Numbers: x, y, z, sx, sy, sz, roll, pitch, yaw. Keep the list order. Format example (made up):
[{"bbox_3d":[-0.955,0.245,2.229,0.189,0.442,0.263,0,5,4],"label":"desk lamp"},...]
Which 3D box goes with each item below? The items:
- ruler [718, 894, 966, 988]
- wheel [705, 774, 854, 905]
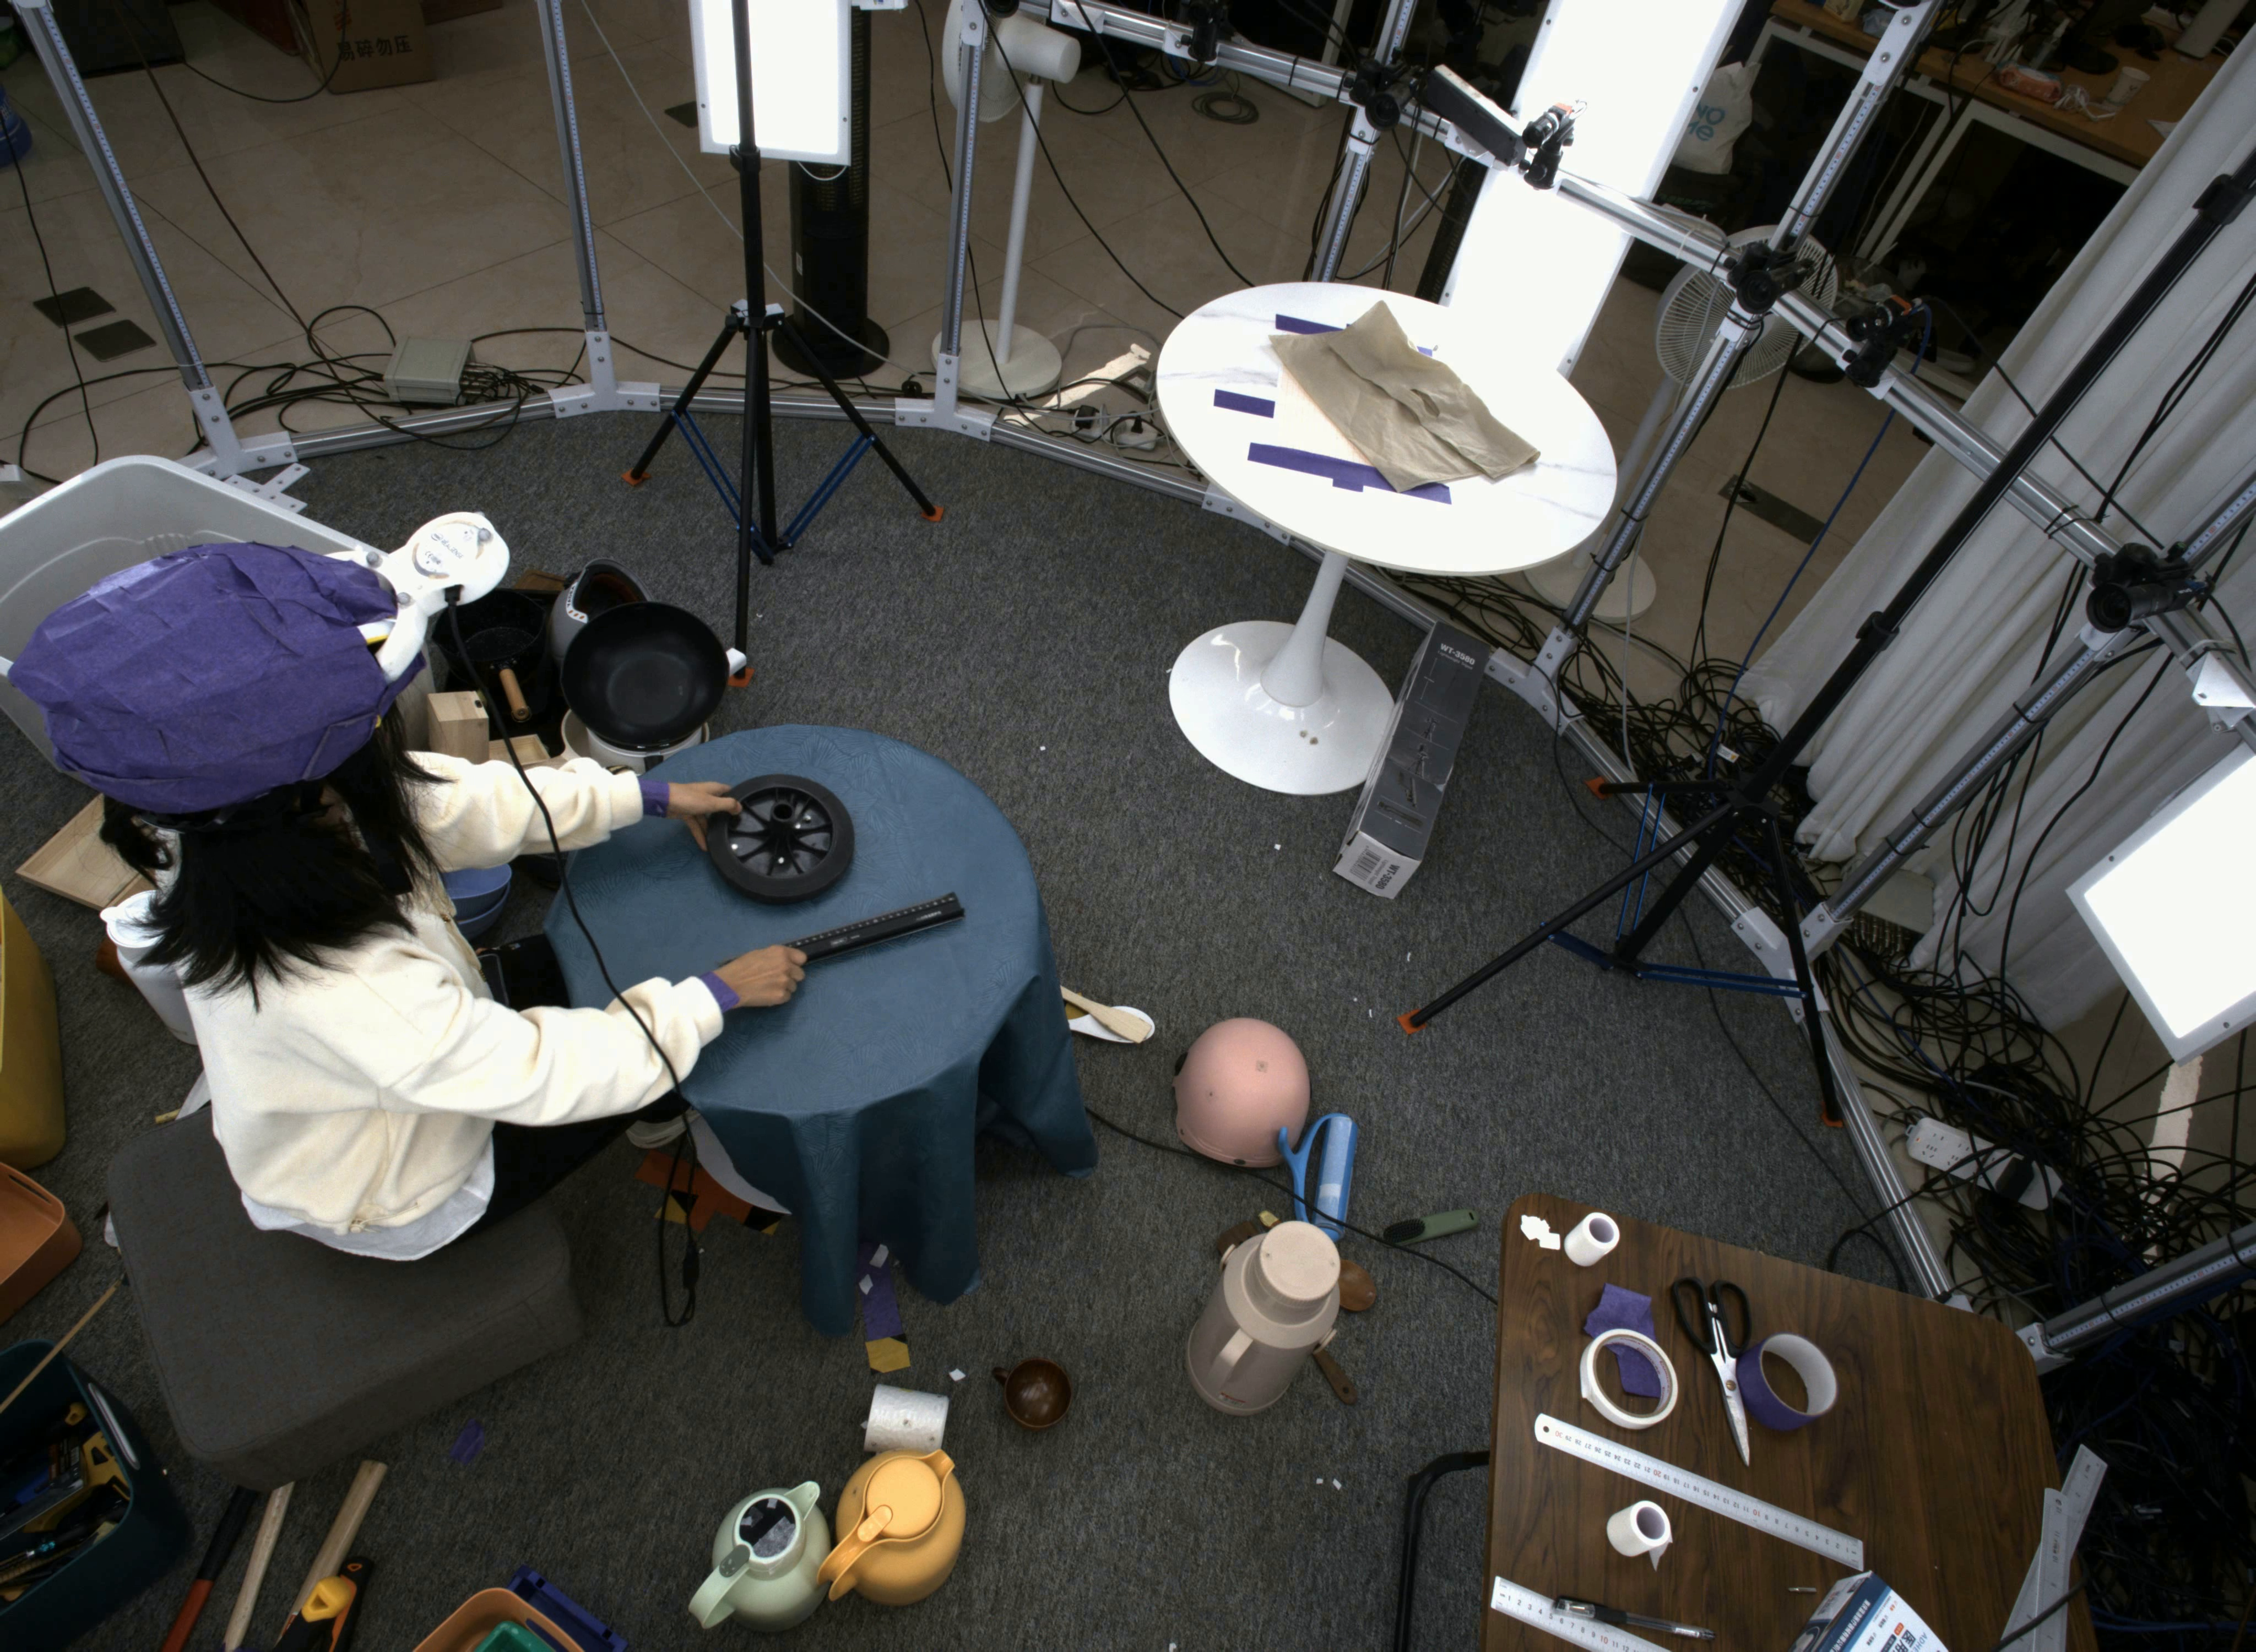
[{"bbox_3d":[-0.351,0.135,1.615,0.314,0.017,0.038,-15,65,-25],"label":"ruler"},{"bbox_3d":[-0.445,0.003,1.656,0.188,0.080,0.186,-6,61,-22],"label":"wheel"}]
